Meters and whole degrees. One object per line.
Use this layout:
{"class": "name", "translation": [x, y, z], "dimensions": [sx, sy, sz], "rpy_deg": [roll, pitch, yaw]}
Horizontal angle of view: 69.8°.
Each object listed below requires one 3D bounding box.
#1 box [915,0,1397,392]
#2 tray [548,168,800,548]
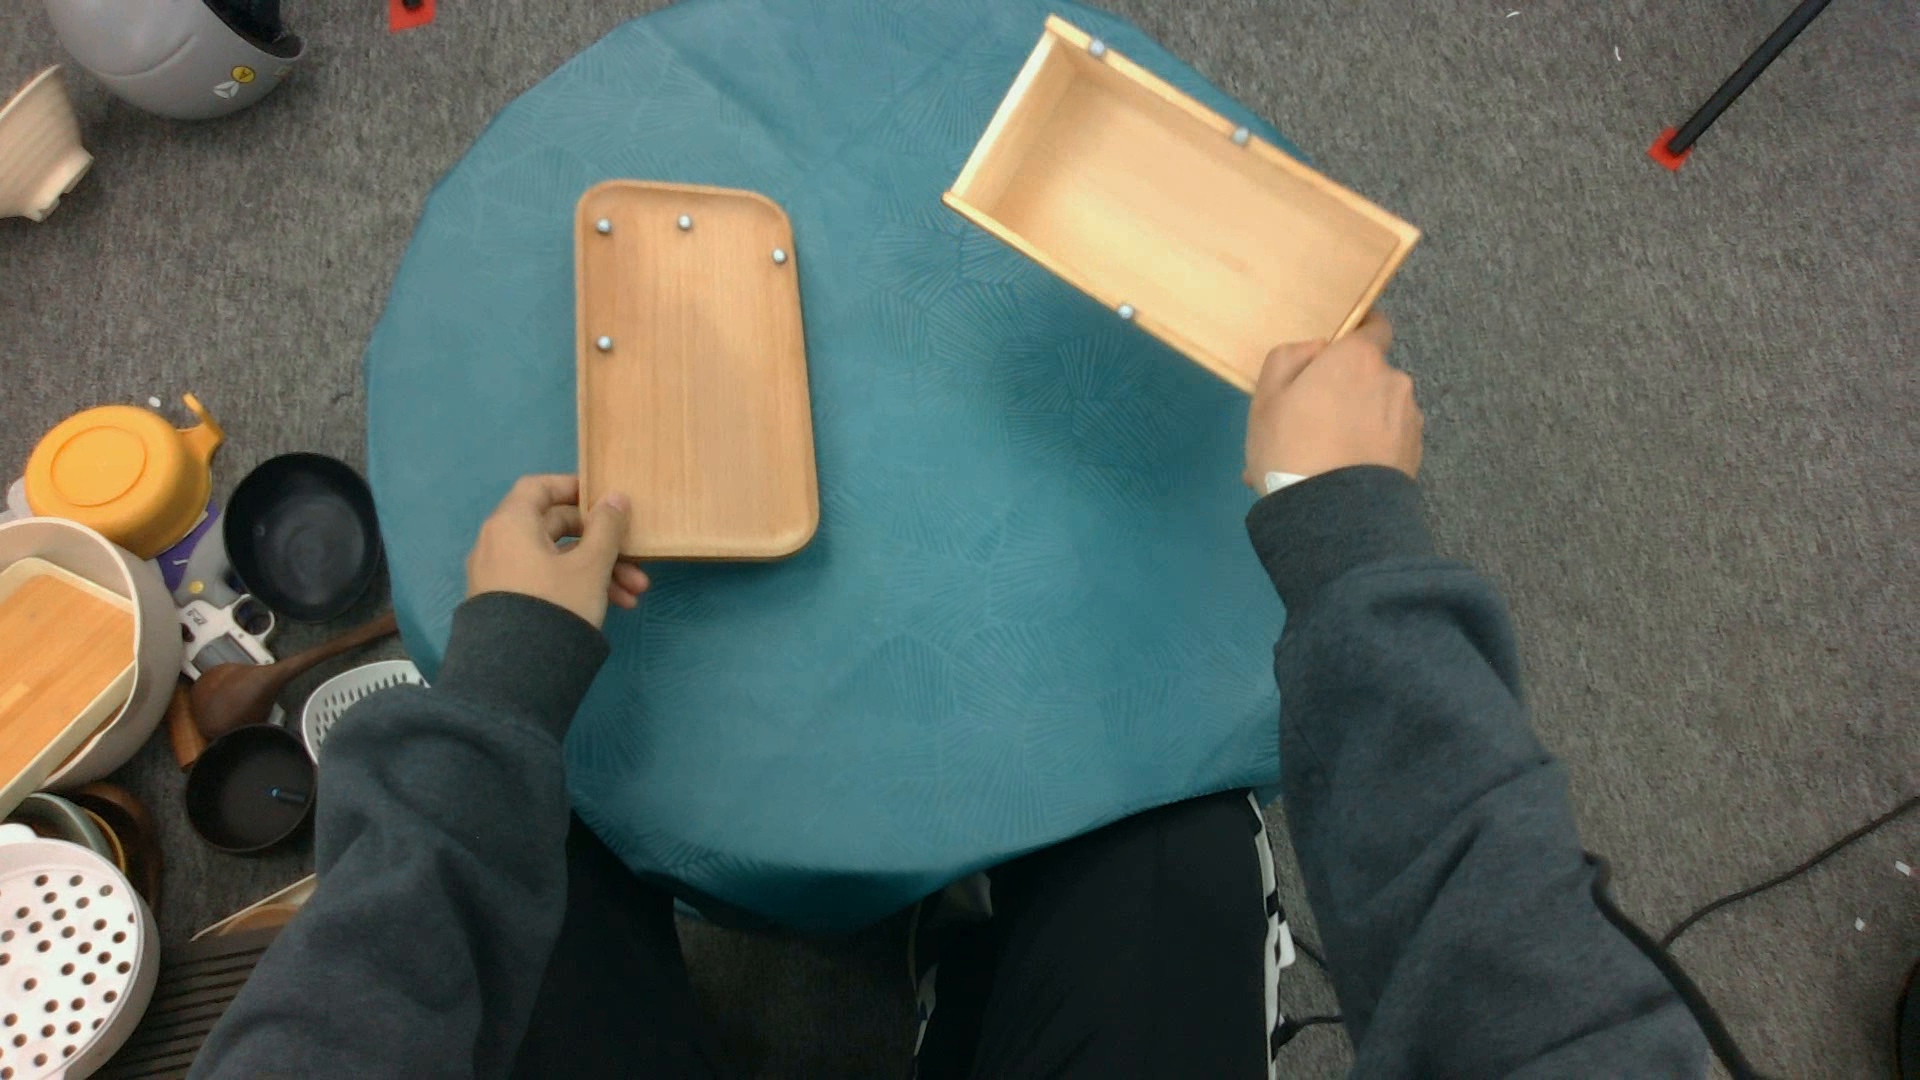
{"class": "box", "translation": [0.100, -0.175, 0.700], "dimensions": [0.211, 0.080, 0.107], "rpy_deg": [32, 105, 9]}
{"class": "tray", "translation": [-0.164, -0.107, 0.776], "dimensions": [0.131, 0.023, 0.251], "rpy_deg": [-1, 63, -15]}
